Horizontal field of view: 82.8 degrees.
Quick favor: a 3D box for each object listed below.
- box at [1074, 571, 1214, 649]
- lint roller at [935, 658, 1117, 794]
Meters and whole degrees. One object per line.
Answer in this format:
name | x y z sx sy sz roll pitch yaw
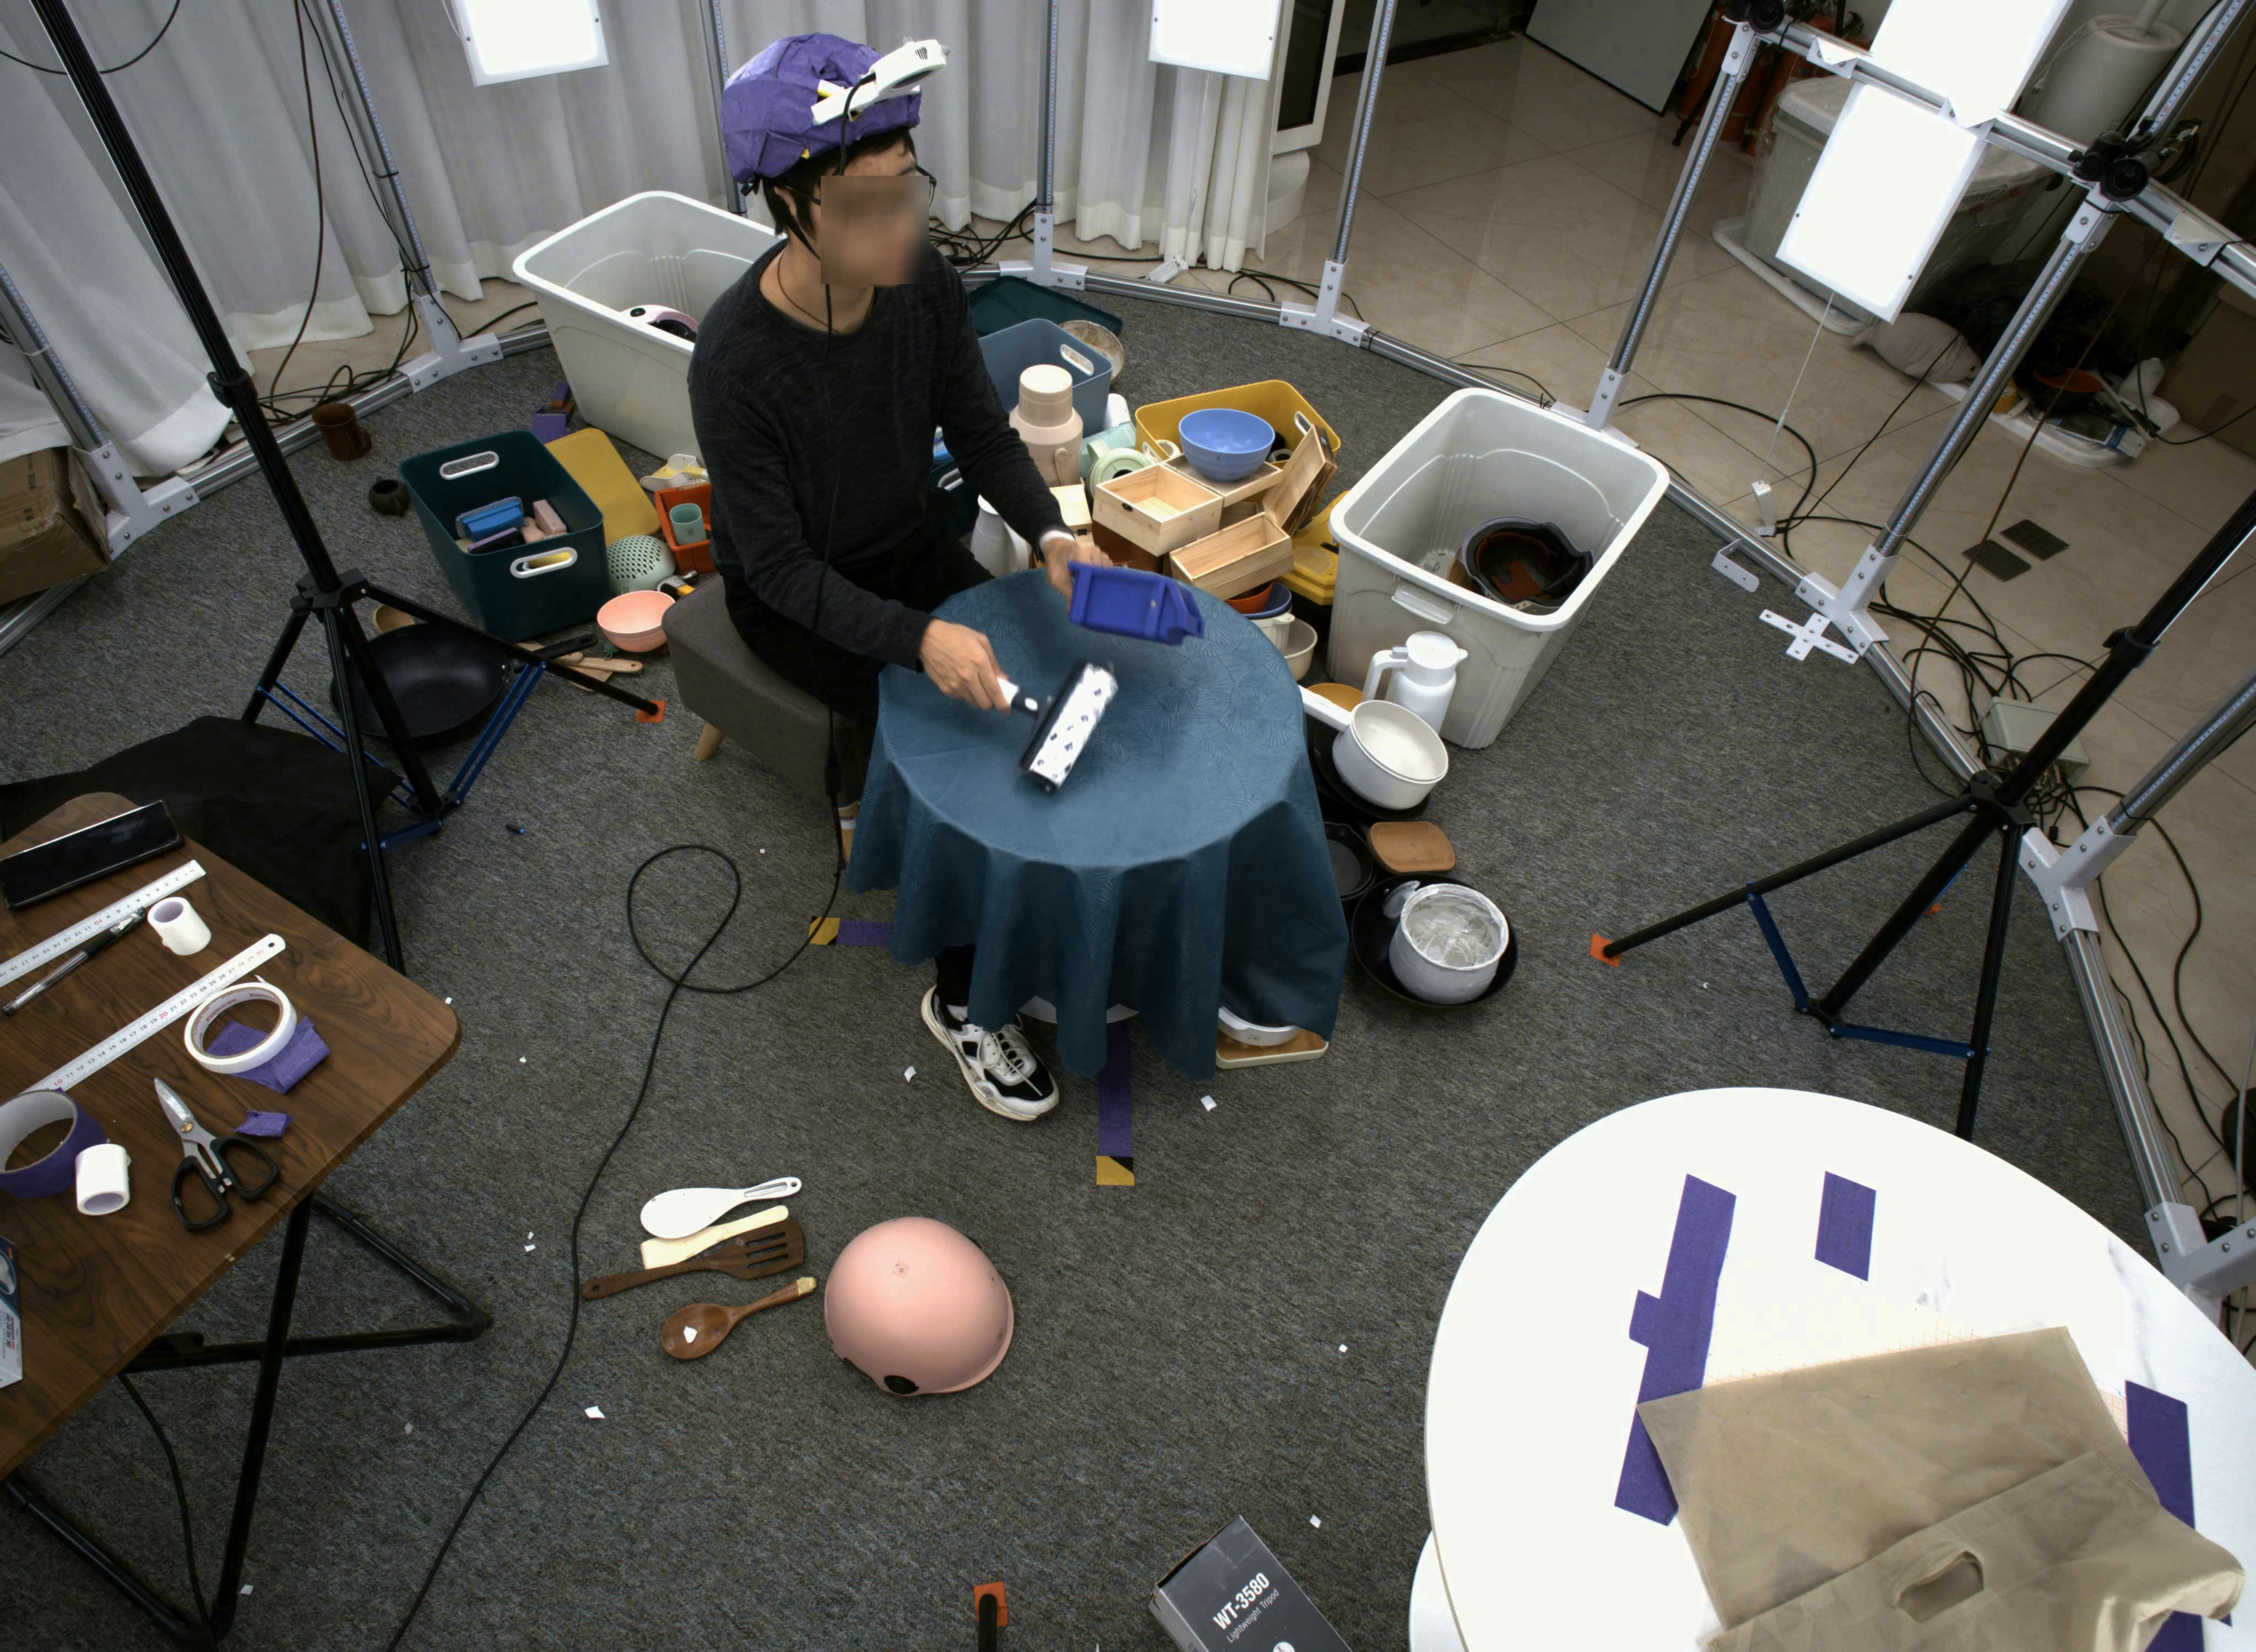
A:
box | 0.024 -0.298 1.788 0.180 0.081 0.124 10 5 16
lint roller | -0.160 -0.168 1.732 0.249 0.049 0.178 27 75 15
